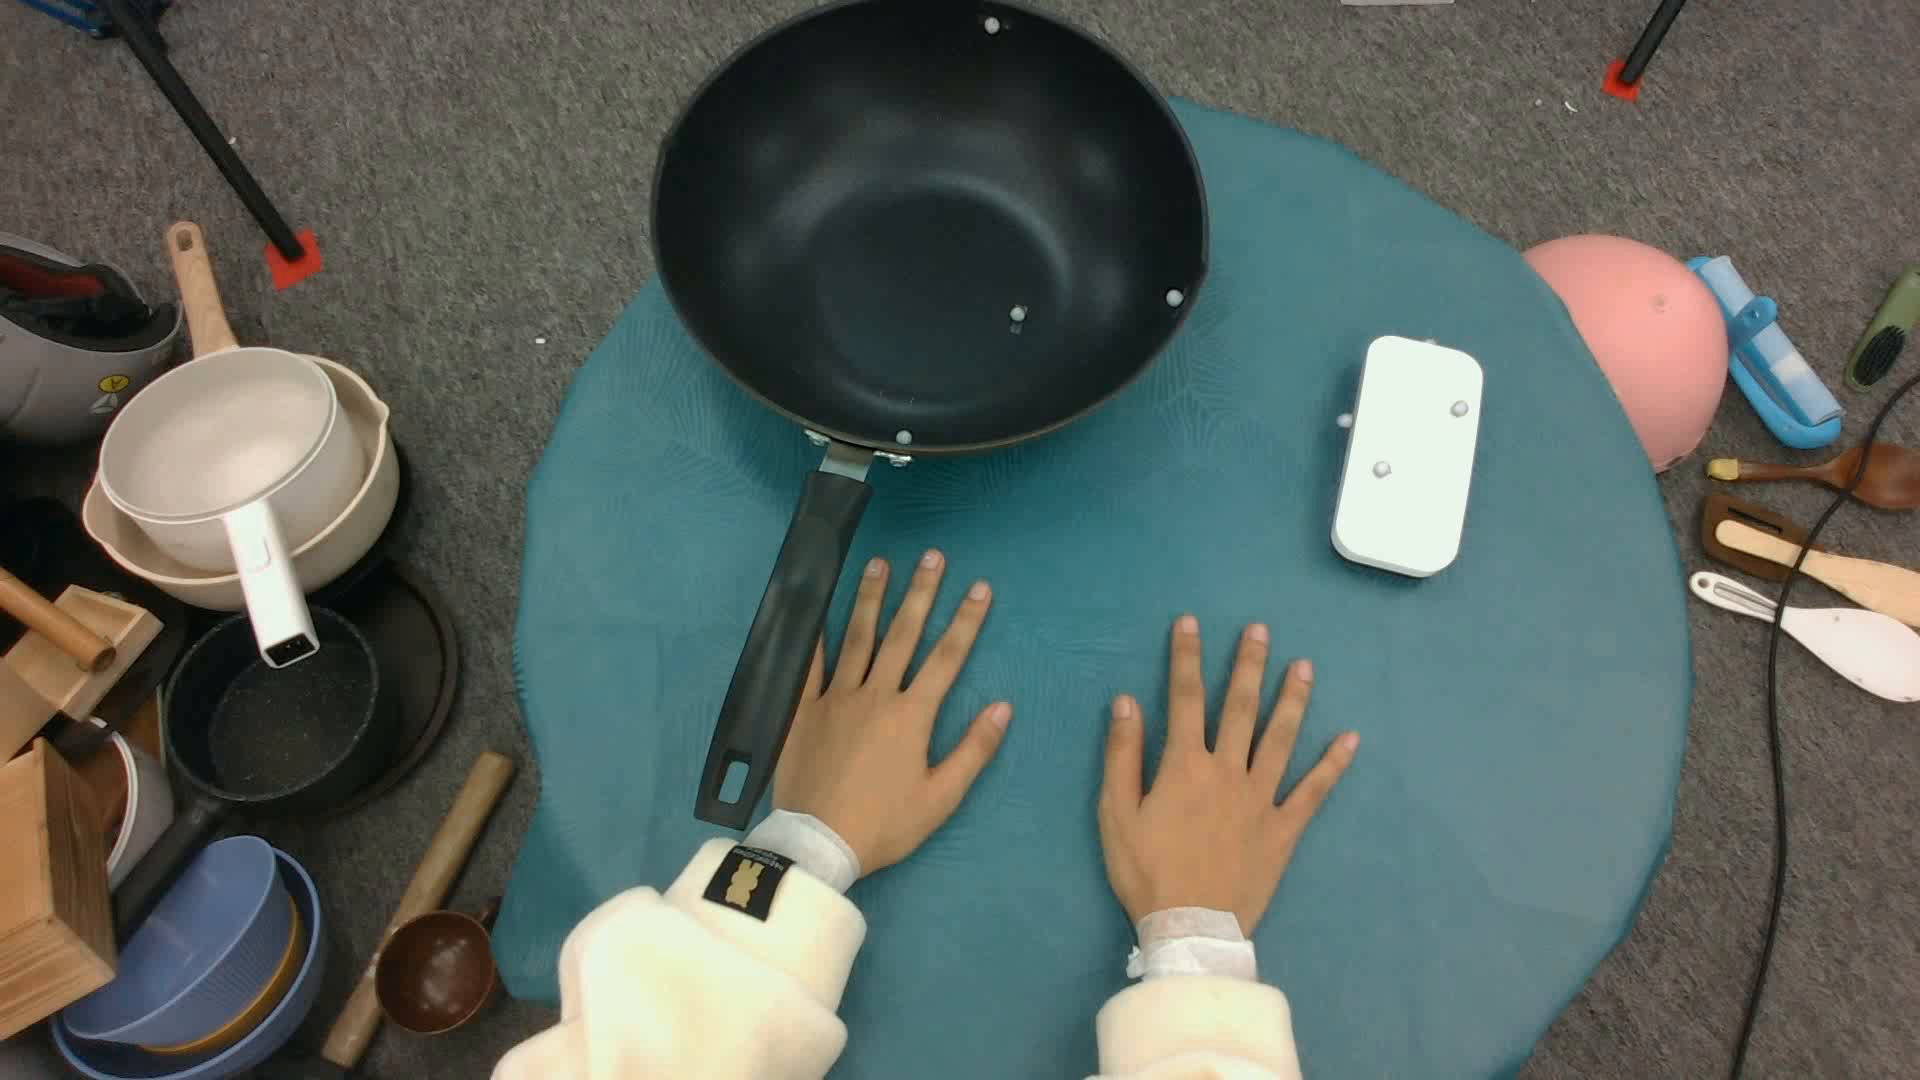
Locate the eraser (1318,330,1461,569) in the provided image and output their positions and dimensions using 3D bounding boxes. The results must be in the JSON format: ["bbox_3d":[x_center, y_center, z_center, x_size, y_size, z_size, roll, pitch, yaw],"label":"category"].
[{"bbox_3d":[0.224,-0.050,0.724,0.063,0.034,0.132,13,67,6],"label":"eraser"}]

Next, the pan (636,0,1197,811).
[{"bbox_3d":[-0.047,-0.080,0.697,0.288,0.086,0.465,15,68,5],"label":"pan"}]
